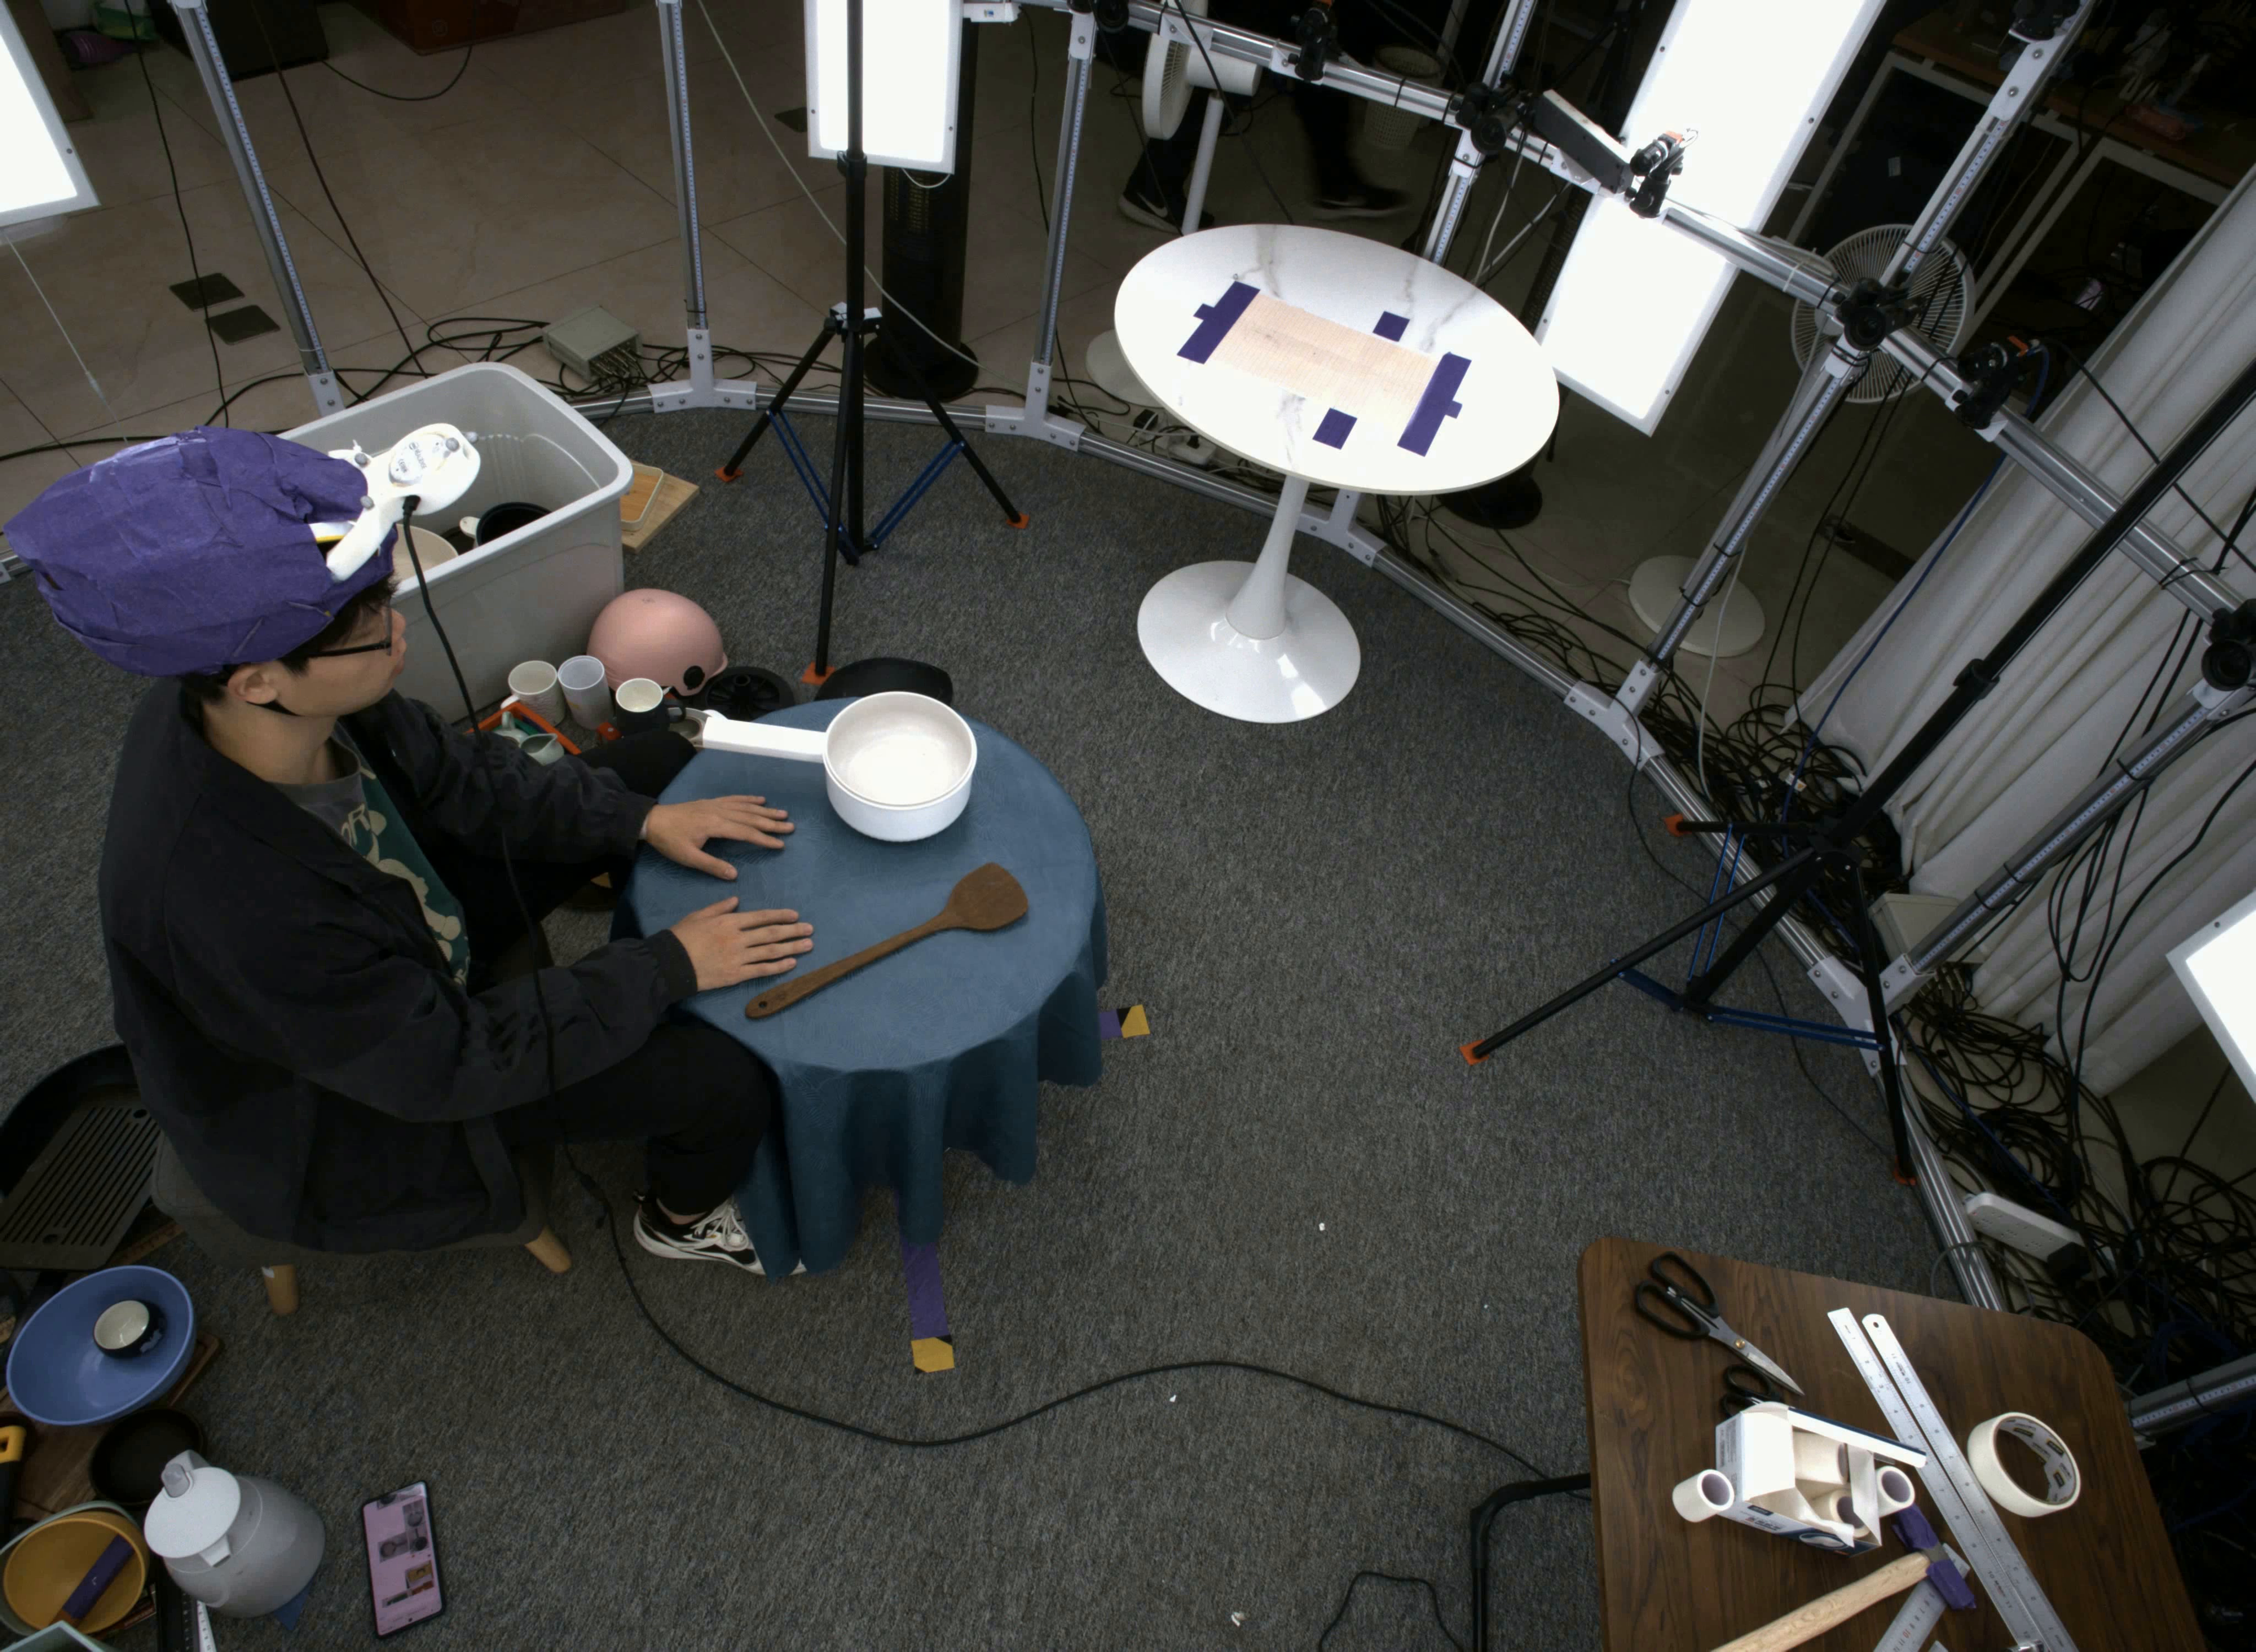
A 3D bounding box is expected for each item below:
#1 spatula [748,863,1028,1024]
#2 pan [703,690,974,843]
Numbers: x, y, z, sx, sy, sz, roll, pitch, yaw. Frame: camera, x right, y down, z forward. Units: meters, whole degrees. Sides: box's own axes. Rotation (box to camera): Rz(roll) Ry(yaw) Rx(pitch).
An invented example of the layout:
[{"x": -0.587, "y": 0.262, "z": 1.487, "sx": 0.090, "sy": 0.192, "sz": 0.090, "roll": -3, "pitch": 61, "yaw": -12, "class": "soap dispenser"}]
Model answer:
[{"x": -0.300, "y": 0.151, "z": 1.634, "sx": 0.387, "sy": 0.016, "sz": 0.094, "roll": -26, "pitch": 63, "yaw": -28, "class": "spatula"}, {"x": -0.383, "y": -0.083, "z": 1.735, "sx": 0.353, "sy": 0.104, "sz": 0.197, "roll": 6, "pitch": 53, "yaw": -7, "class": "pan"}]
